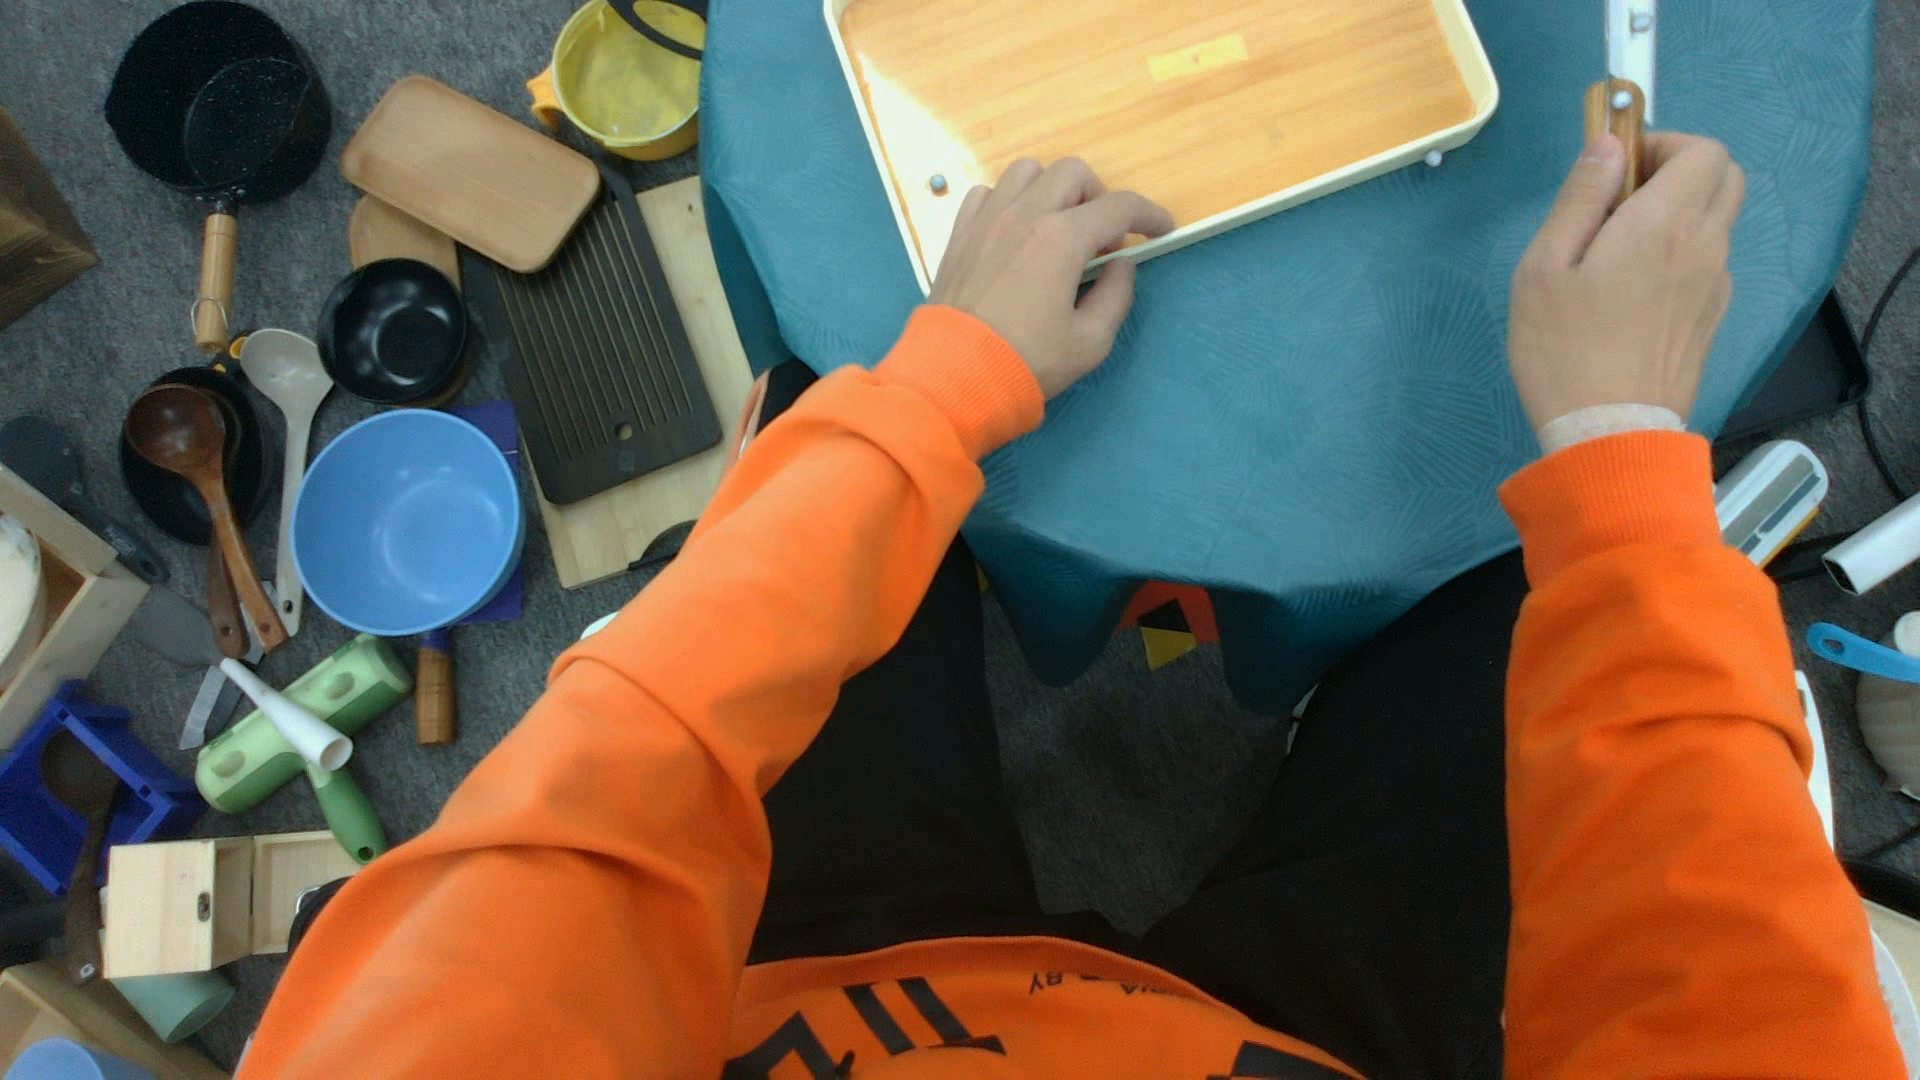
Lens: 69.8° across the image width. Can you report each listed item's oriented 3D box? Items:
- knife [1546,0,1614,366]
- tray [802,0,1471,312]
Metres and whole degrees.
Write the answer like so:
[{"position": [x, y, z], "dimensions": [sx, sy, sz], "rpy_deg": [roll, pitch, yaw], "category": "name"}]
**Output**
[{"position": [0.272, -0.231, 0.598], "dimensions": [0.021, 0.093, 0.305], "rpy_deg": [0, 100, 33], "category": "knife"}, {"position": [0.086, -0.249, 0.702], "dimensions": [0.300, 0.027, 0.192], "rpy_deg": [-19, 81, -1], "category": "tray"}]
